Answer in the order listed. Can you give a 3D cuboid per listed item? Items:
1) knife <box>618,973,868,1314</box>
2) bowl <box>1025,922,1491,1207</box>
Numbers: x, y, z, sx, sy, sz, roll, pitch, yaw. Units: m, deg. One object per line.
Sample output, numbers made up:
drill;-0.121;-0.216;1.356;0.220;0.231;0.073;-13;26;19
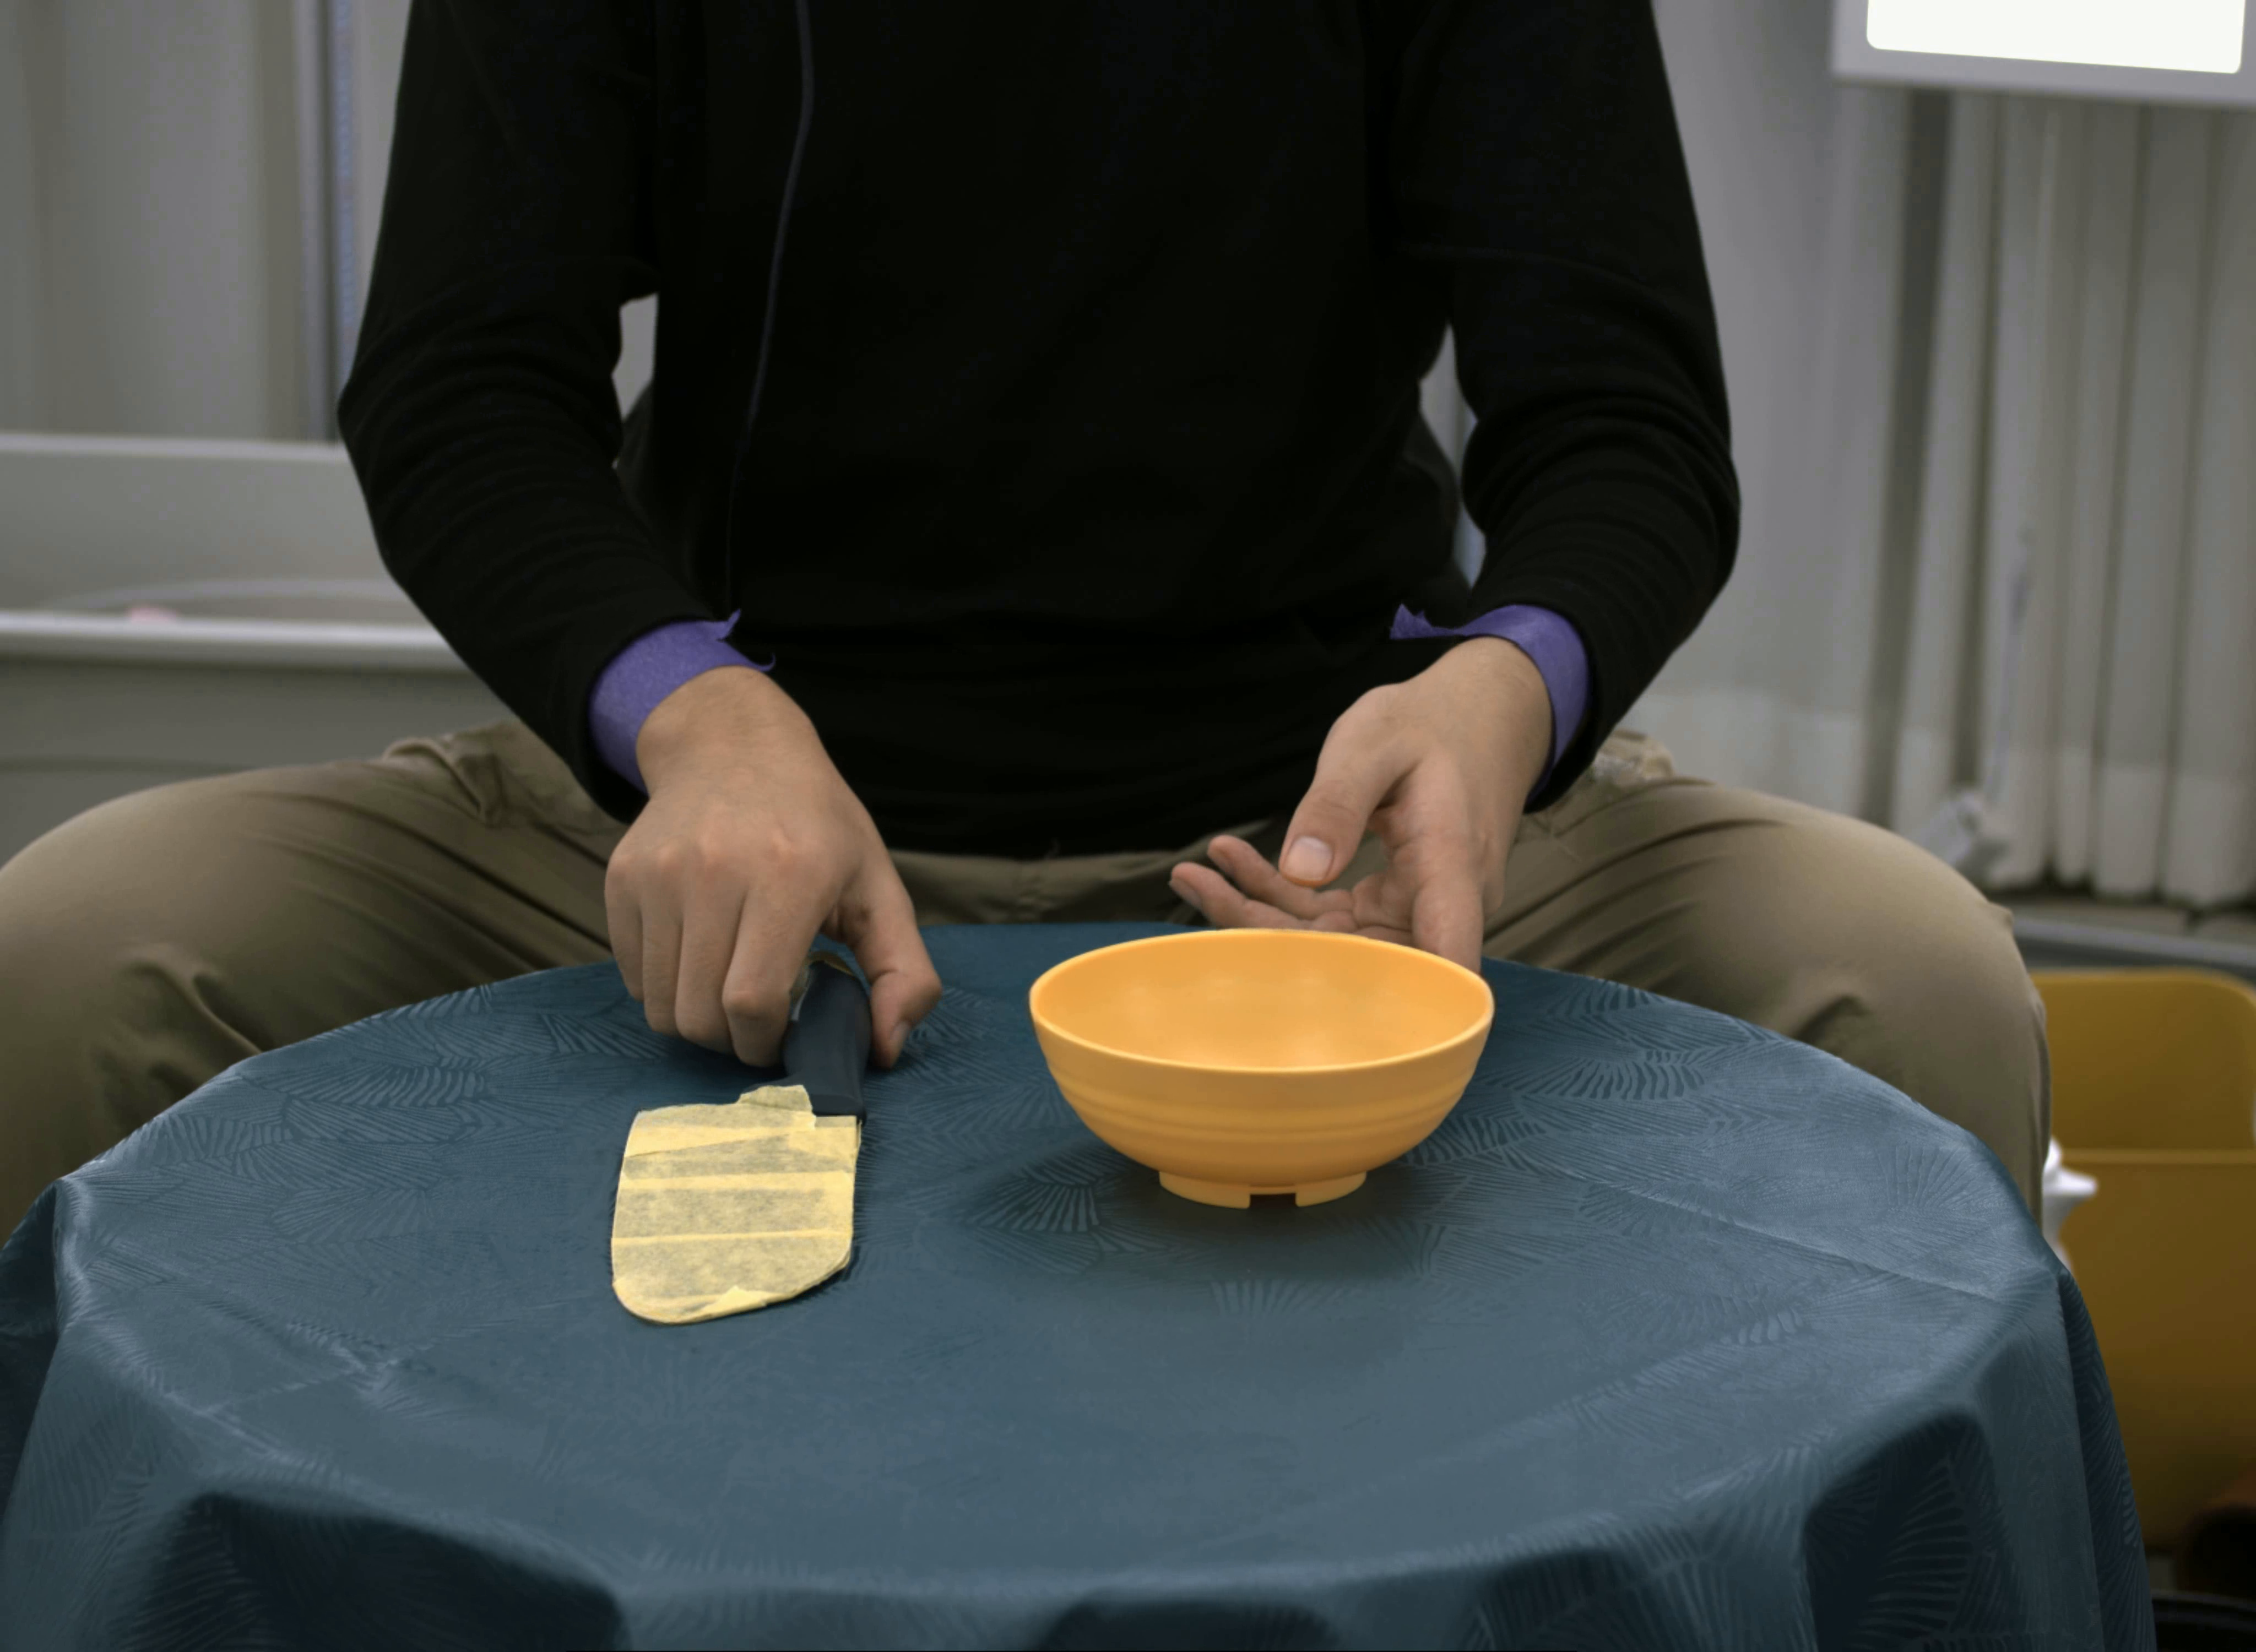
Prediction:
knife;-0.117;0.098;1.644;0.081;0.027;0.288;2;17;1
bowl;0.039;0.079;1.632;0.145;0.060;0.144;3;16;0
